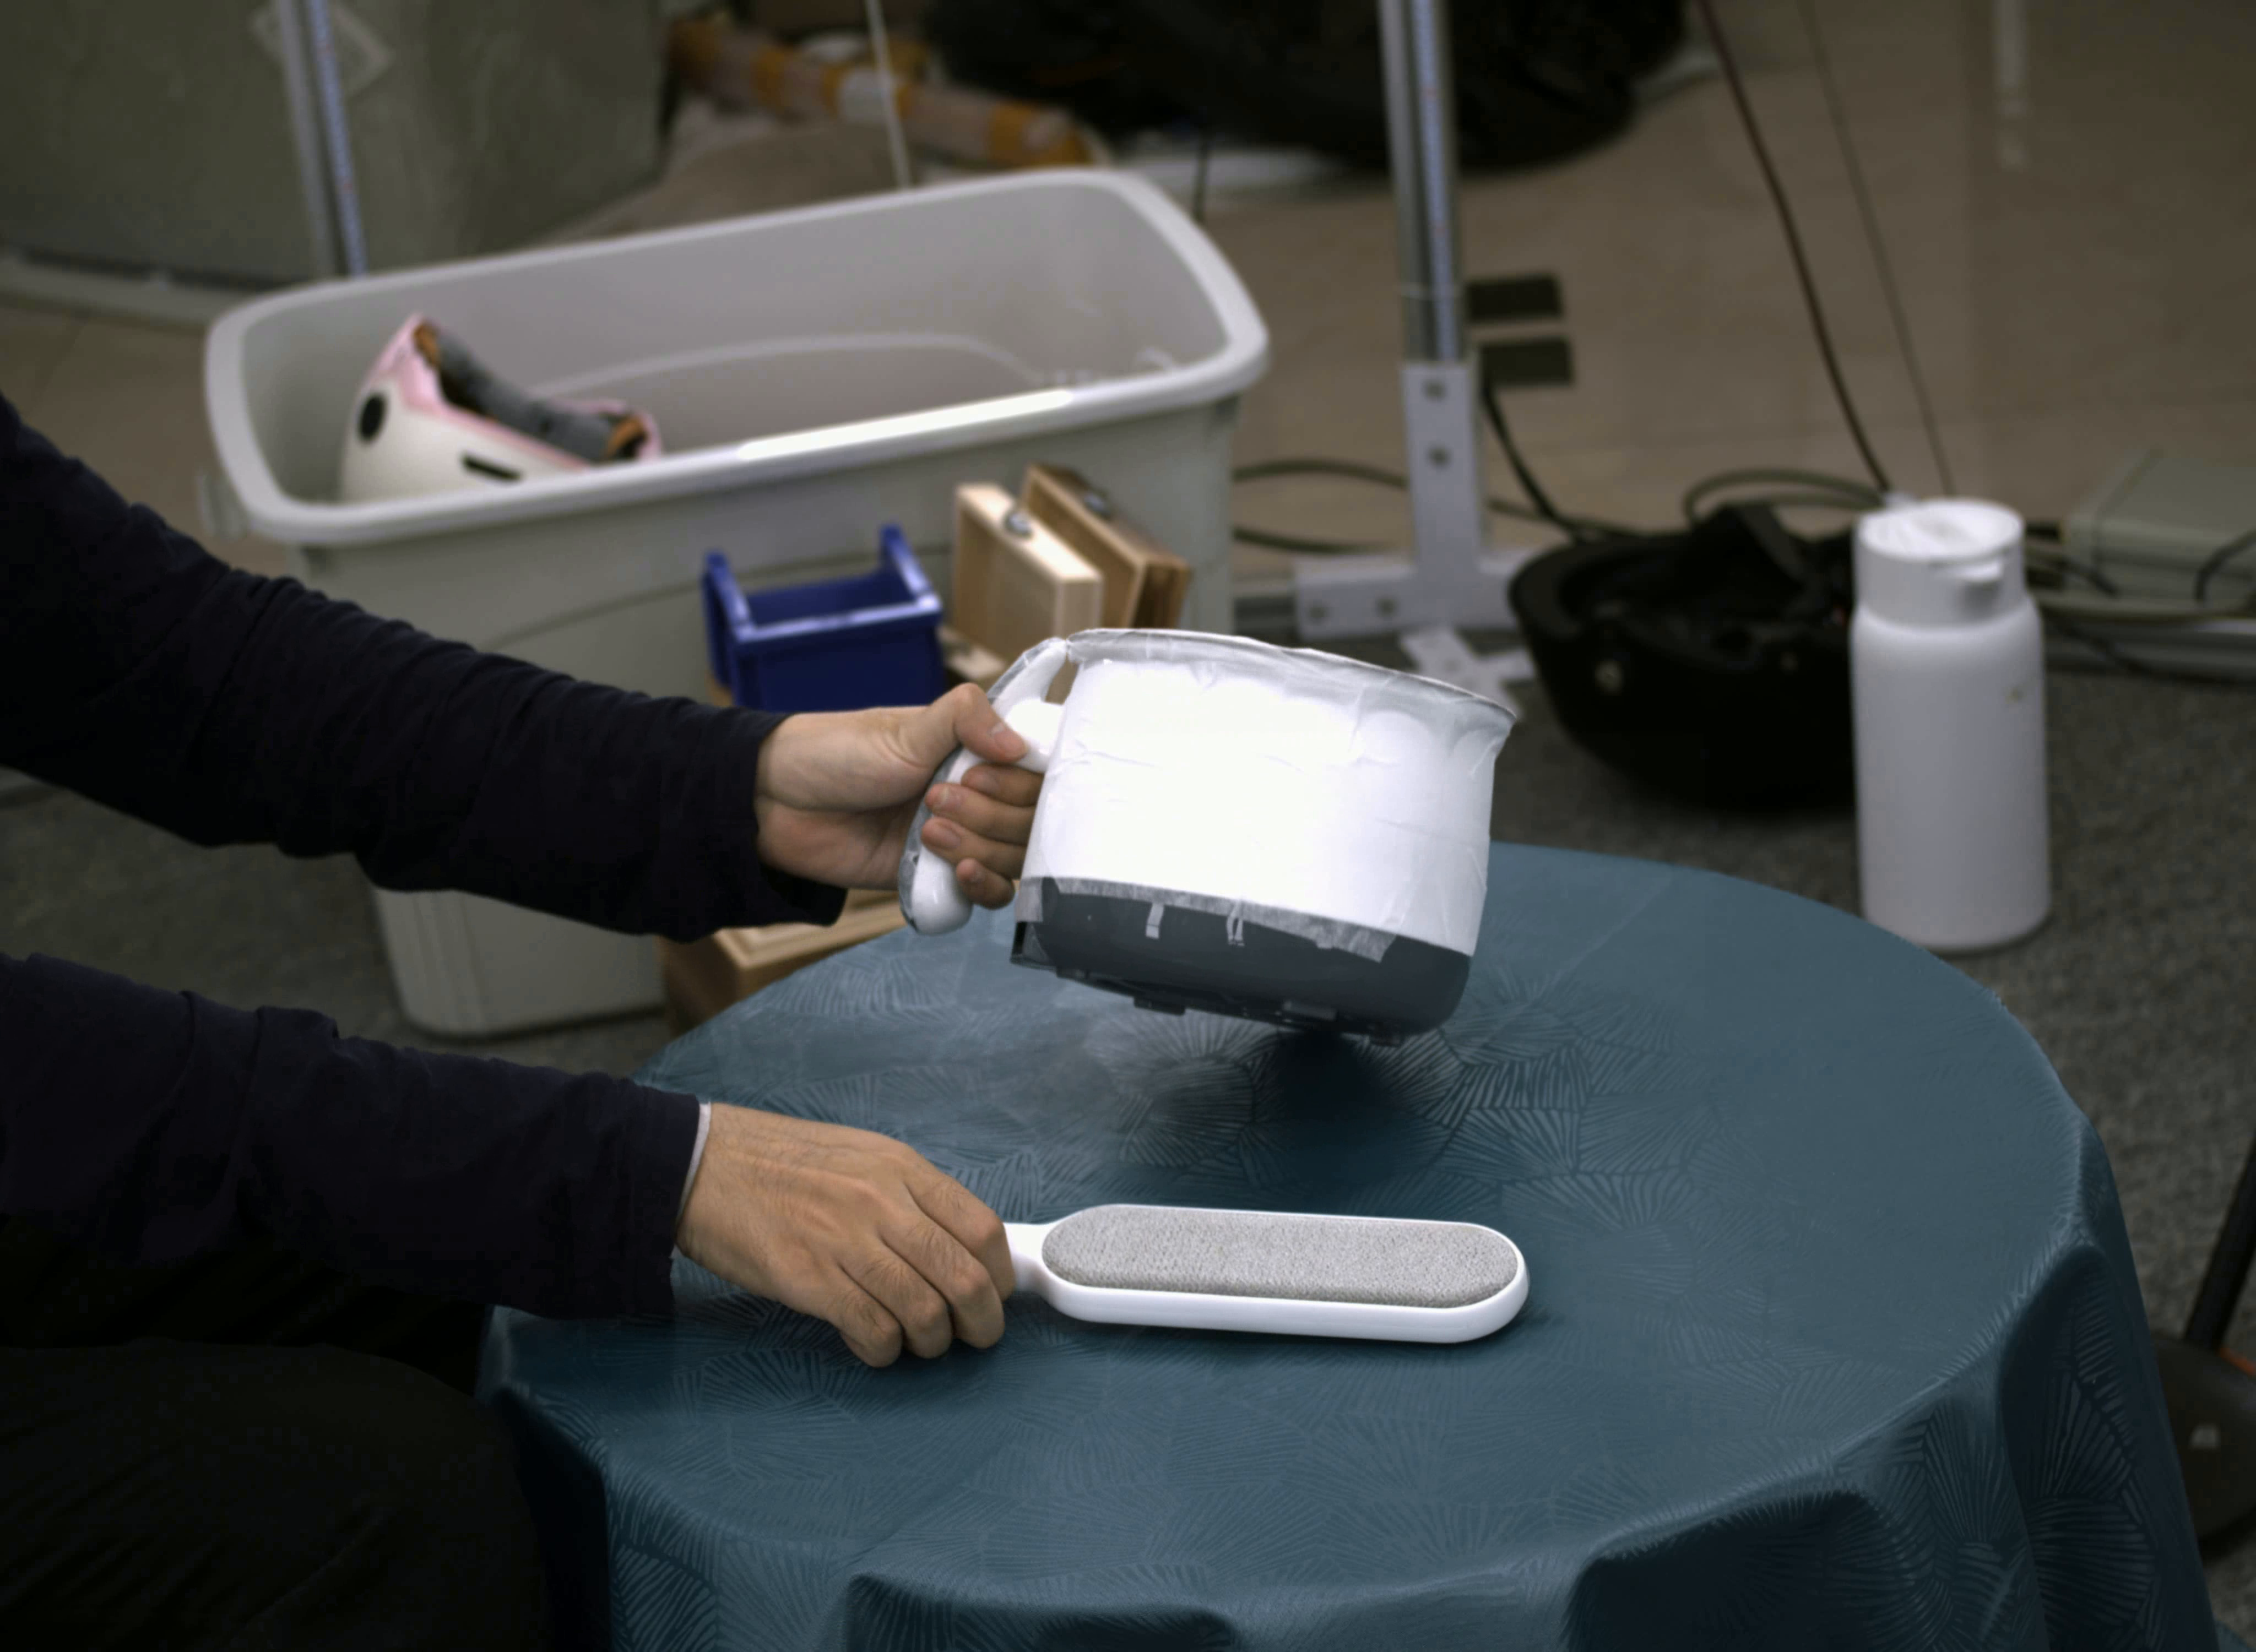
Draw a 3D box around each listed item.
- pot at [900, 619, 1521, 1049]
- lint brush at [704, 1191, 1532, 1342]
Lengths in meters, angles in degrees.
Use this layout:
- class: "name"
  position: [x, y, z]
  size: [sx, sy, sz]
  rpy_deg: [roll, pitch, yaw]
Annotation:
- class: "pot"
  position: [0.027, 0.000, 2.192]
  size: [0.233, 0.136, 0.180]
  rpy_deg: [9, -7, 20]
- class: "lint brush"
  position: [-0.007, 0.156, 2.066]
  size: [0.308, 0.021, 0.059]
  rpy_deg: [2, 38, 14]
